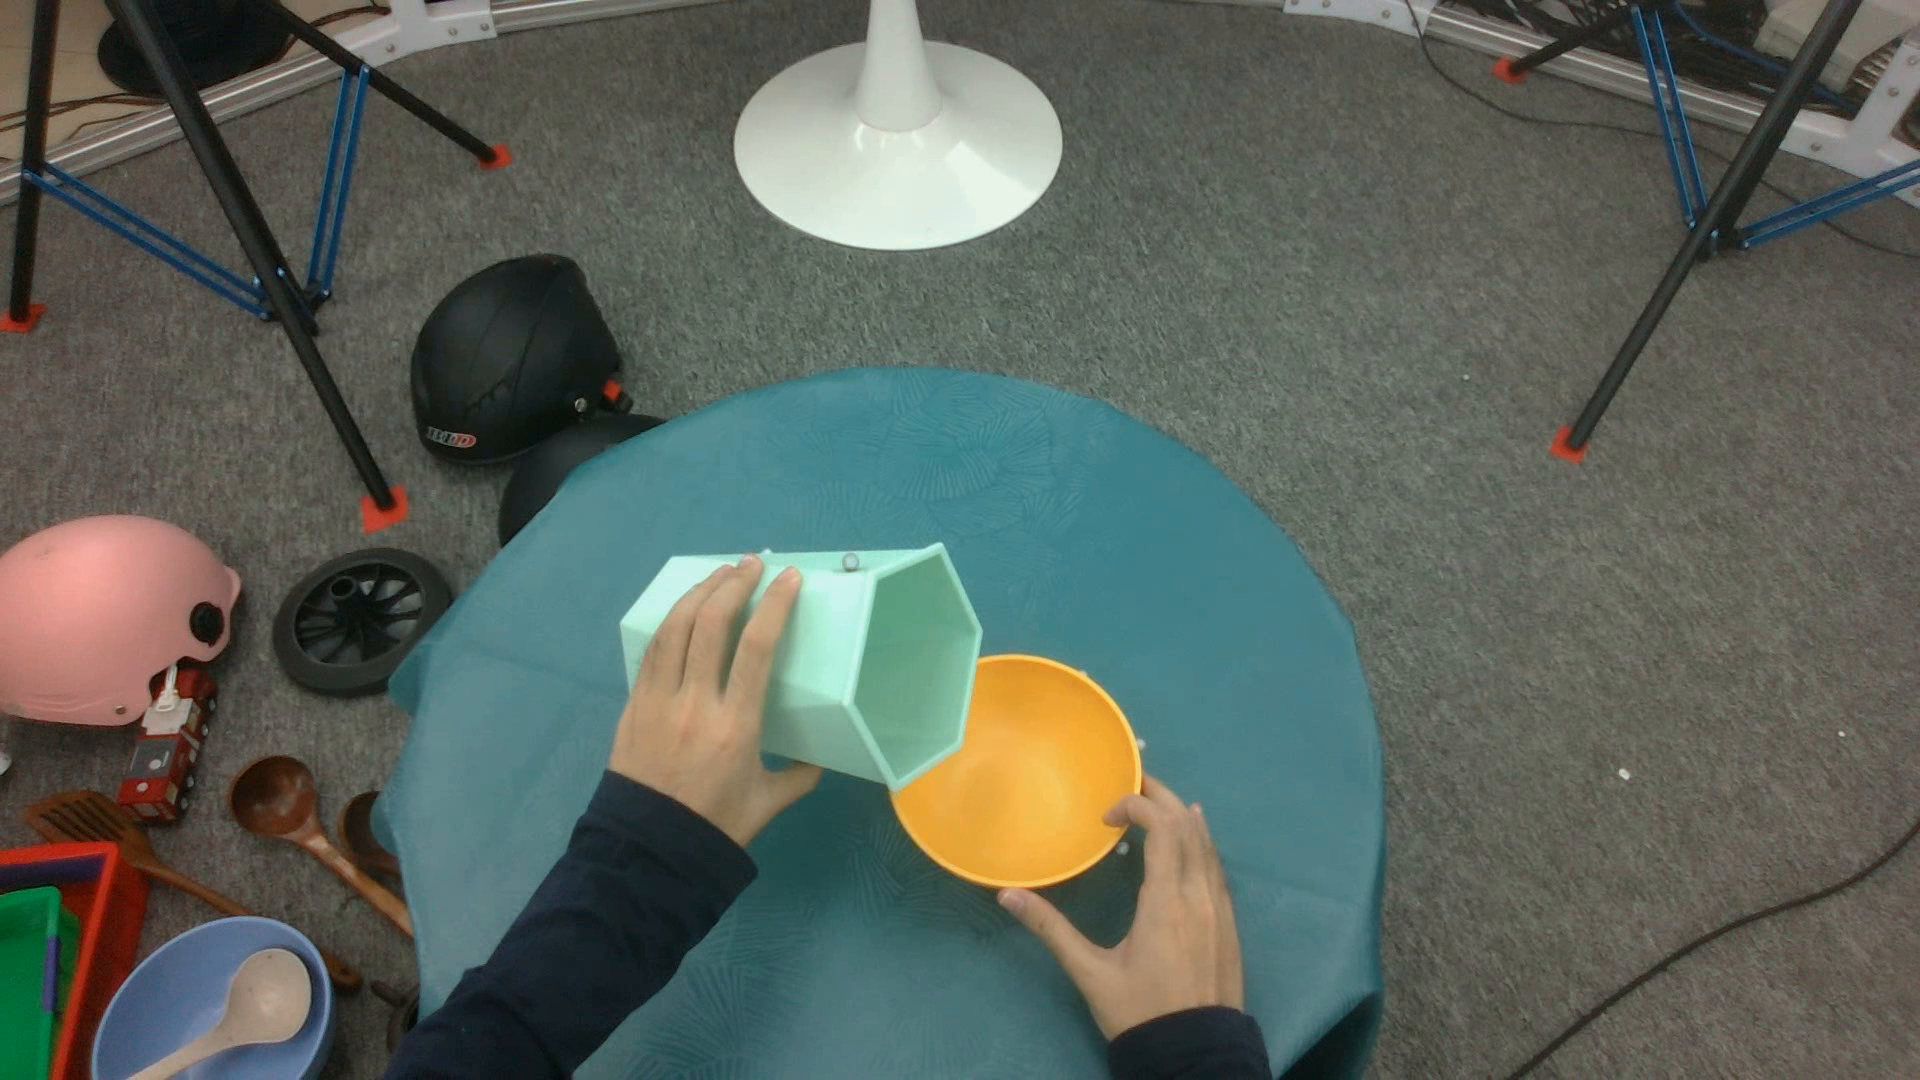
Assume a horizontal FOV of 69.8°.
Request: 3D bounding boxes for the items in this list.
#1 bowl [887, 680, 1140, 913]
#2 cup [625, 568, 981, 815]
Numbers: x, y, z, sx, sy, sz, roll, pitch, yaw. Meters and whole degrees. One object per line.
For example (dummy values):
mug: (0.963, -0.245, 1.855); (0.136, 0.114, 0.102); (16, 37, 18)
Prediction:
bowl: (0.031, 0.158, 0.809); (0.145, 0.060, 0.146); (0, 54, 1)
cup: (-0.089, 0.074, 0.753); (0.162, 0.130, 0.116); (2, 44, 32)
